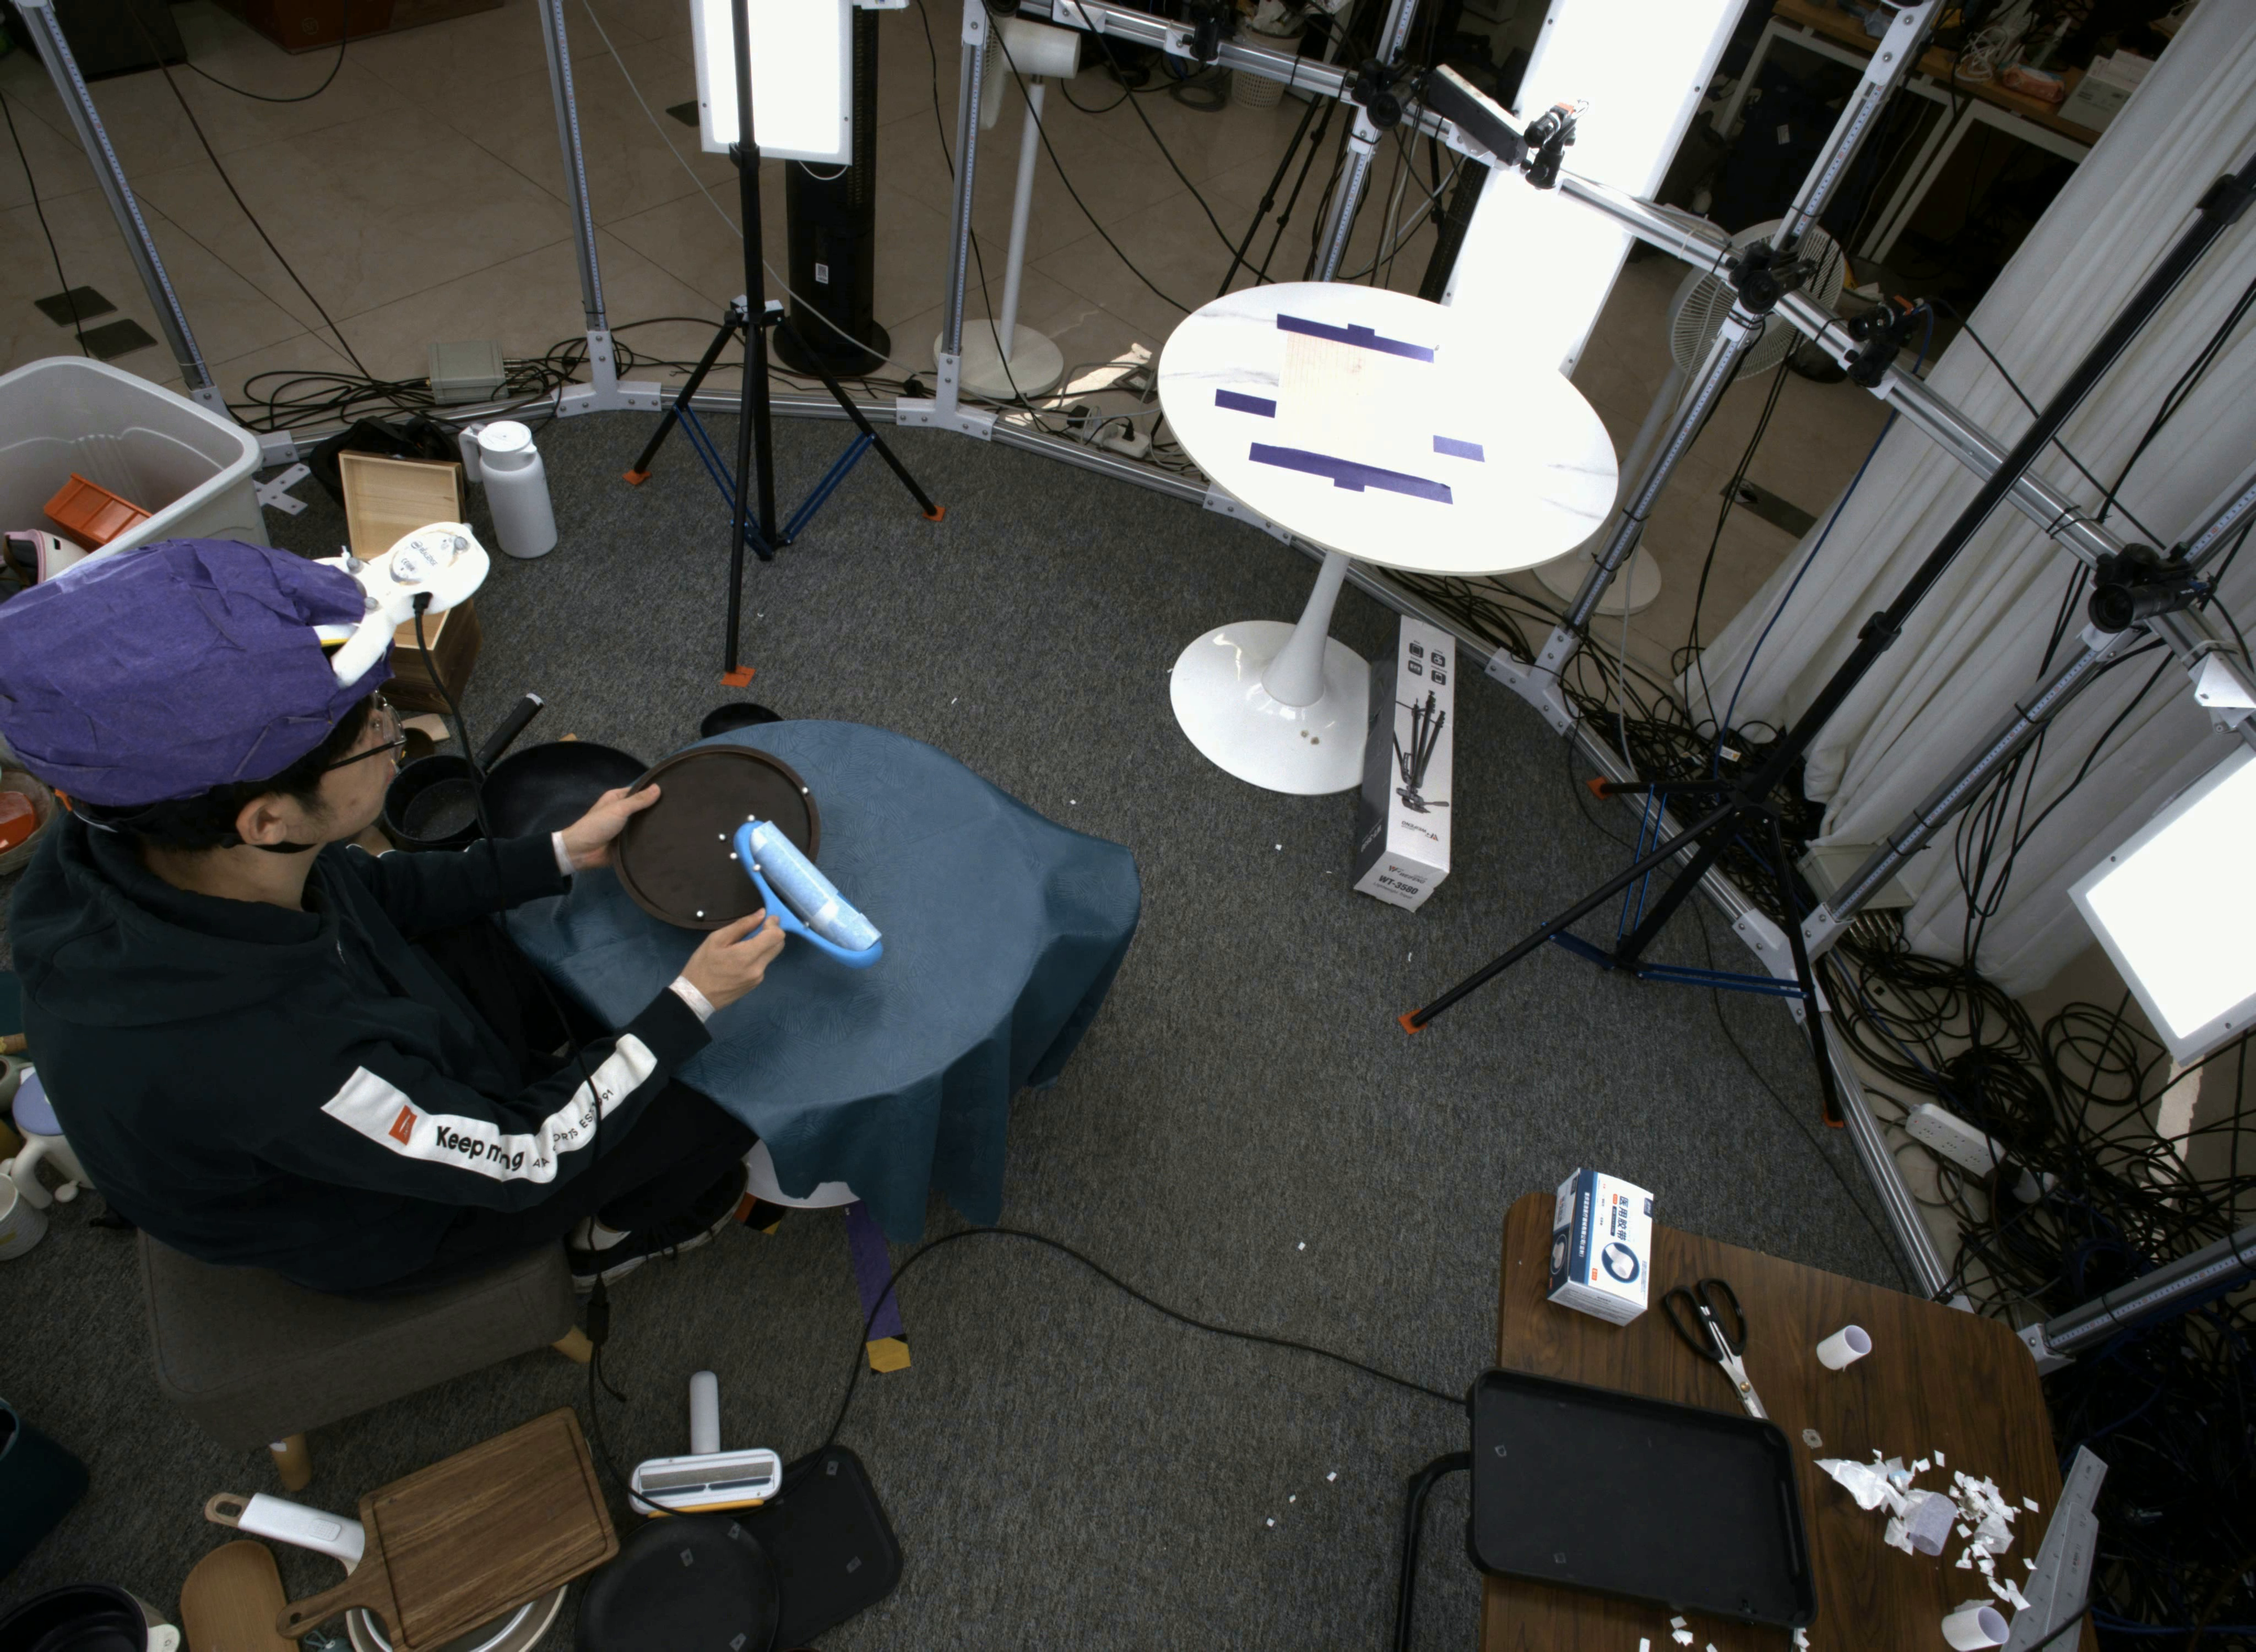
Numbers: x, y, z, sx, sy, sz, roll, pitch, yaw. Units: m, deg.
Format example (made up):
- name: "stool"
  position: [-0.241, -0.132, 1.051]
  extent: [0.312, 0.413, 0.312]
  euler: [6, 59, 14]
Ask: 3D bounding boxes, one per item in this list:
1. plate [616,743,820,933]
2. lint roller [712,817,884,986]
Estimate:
- name: "plate"
  position: [-0.507, 0.013, 1.594]
  extent: [0.254, 0.029, 0.252]
  euler: [4, 65, -8]
- name: "lint roller"
  position: [-0.413, 0.114, 1.519]
  extent: [0.231, 0.067, 0.180]
  euler: [44, 57, -7]
